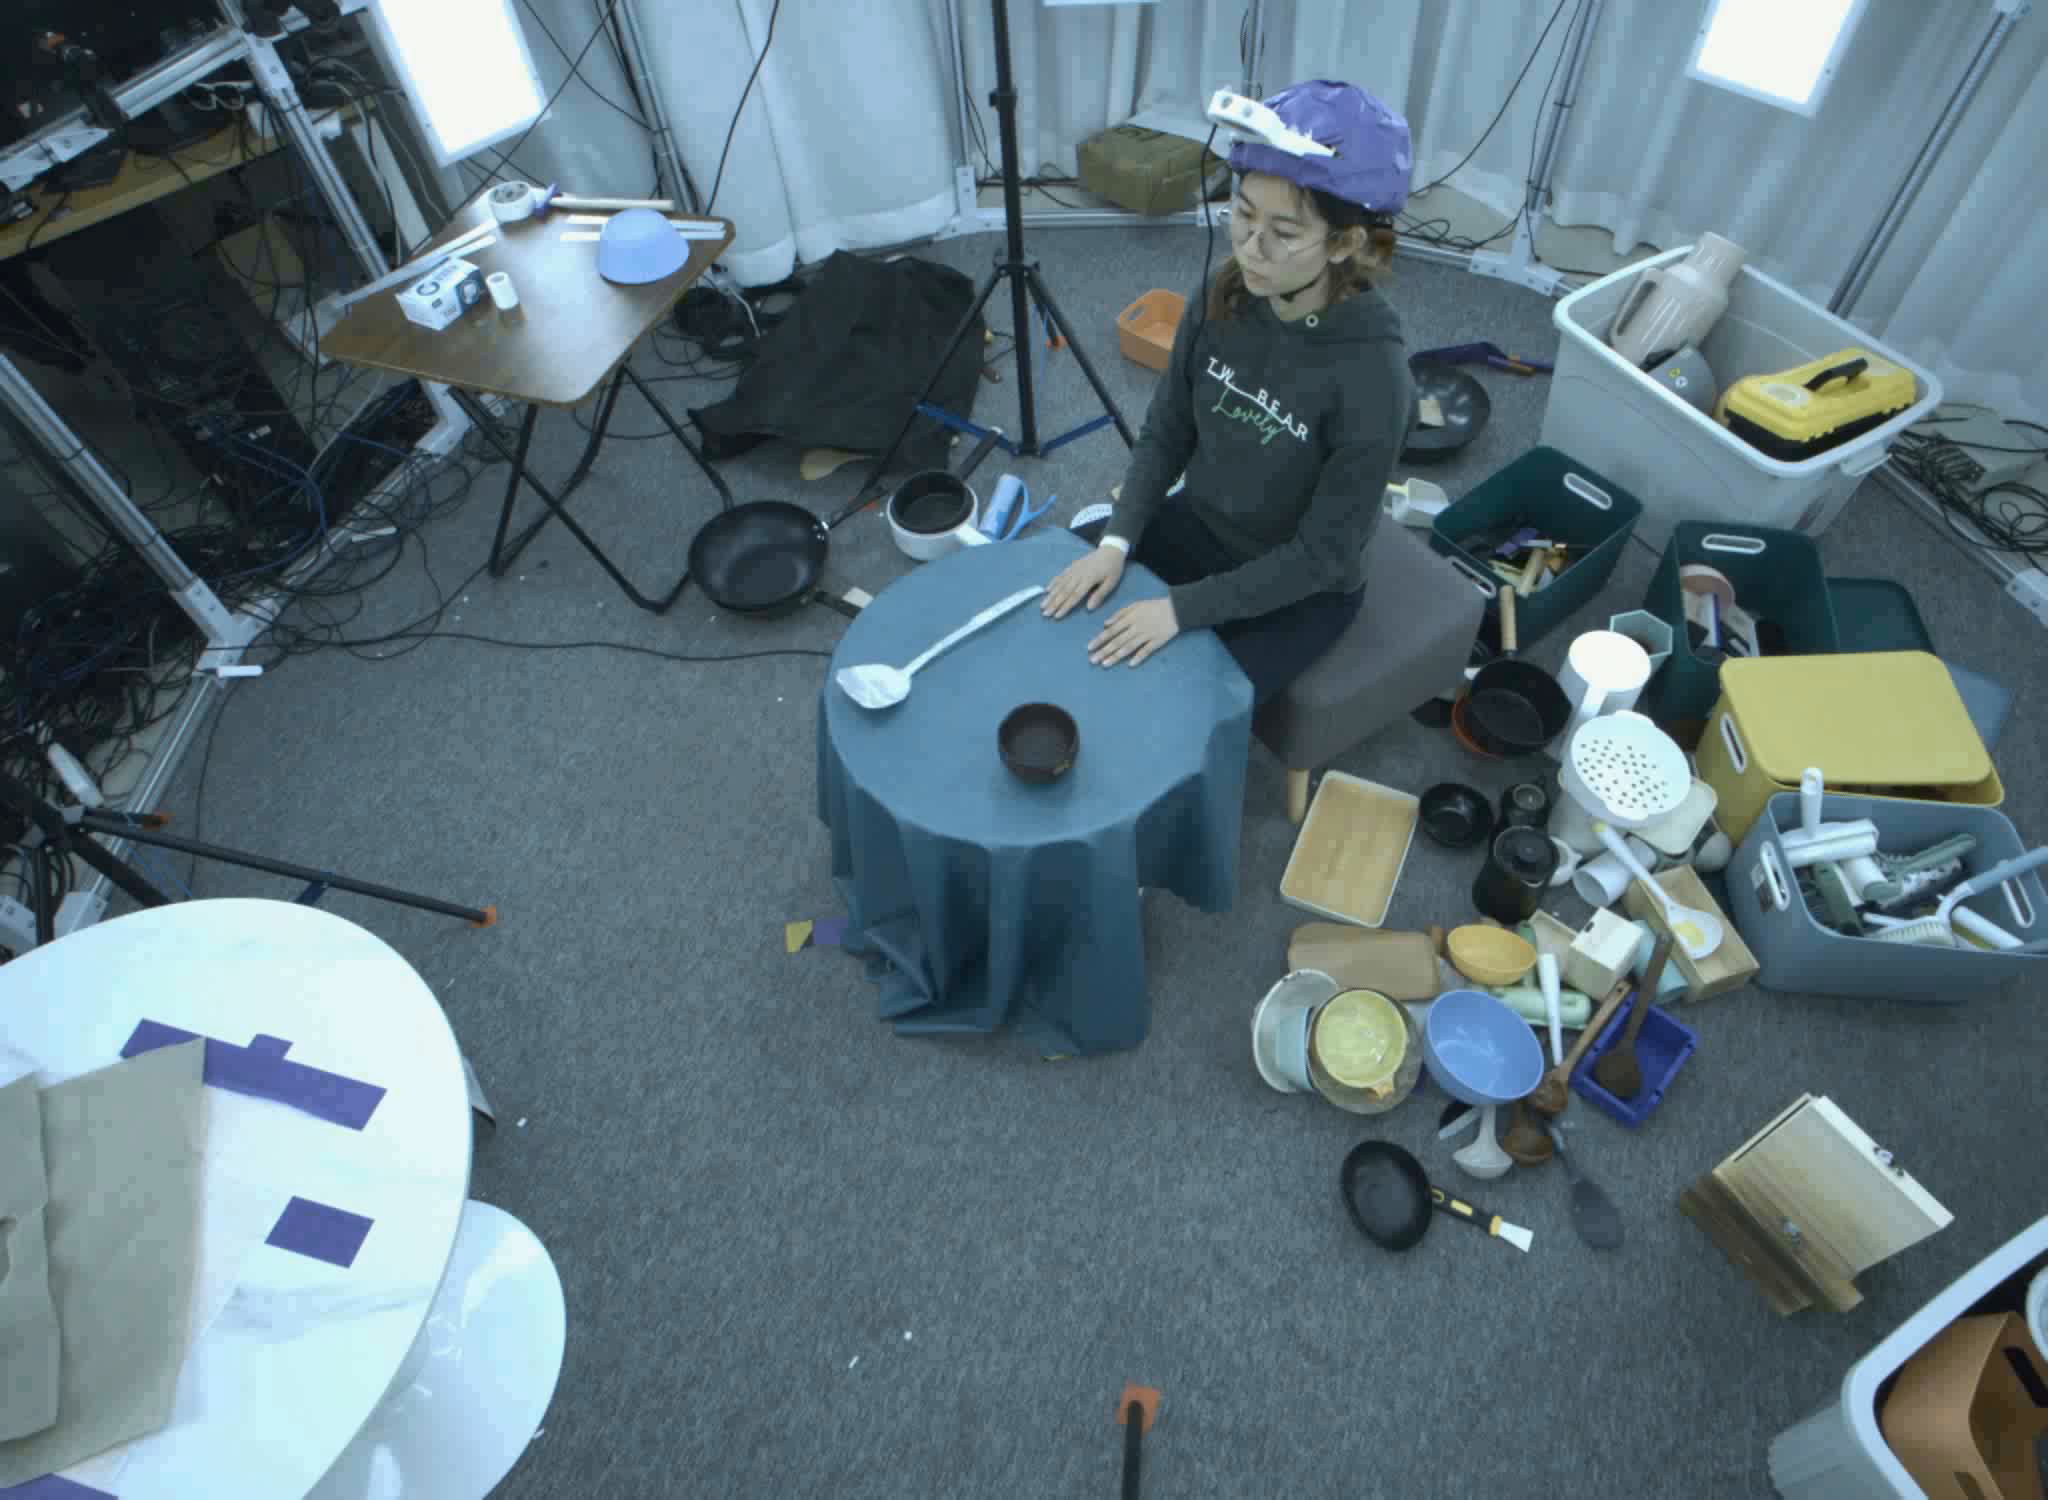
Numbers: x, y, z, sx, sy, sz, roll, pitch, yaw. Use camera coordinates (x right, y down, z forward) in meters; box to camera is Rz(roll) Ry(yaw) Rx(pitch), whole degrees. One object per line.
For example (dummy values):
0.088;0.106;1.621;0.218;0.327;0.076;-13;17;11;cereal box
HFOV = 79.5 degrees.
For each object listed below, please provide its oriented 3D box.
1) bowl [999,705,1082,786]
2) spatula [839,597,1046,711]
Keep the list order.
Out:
0.024;0.001;1.753;0.118;0.070;0.117;1;54;0;bowl
-0.116;-0.163;1.892;0.368;0.045;0.097;-34;58;-20;spatula
